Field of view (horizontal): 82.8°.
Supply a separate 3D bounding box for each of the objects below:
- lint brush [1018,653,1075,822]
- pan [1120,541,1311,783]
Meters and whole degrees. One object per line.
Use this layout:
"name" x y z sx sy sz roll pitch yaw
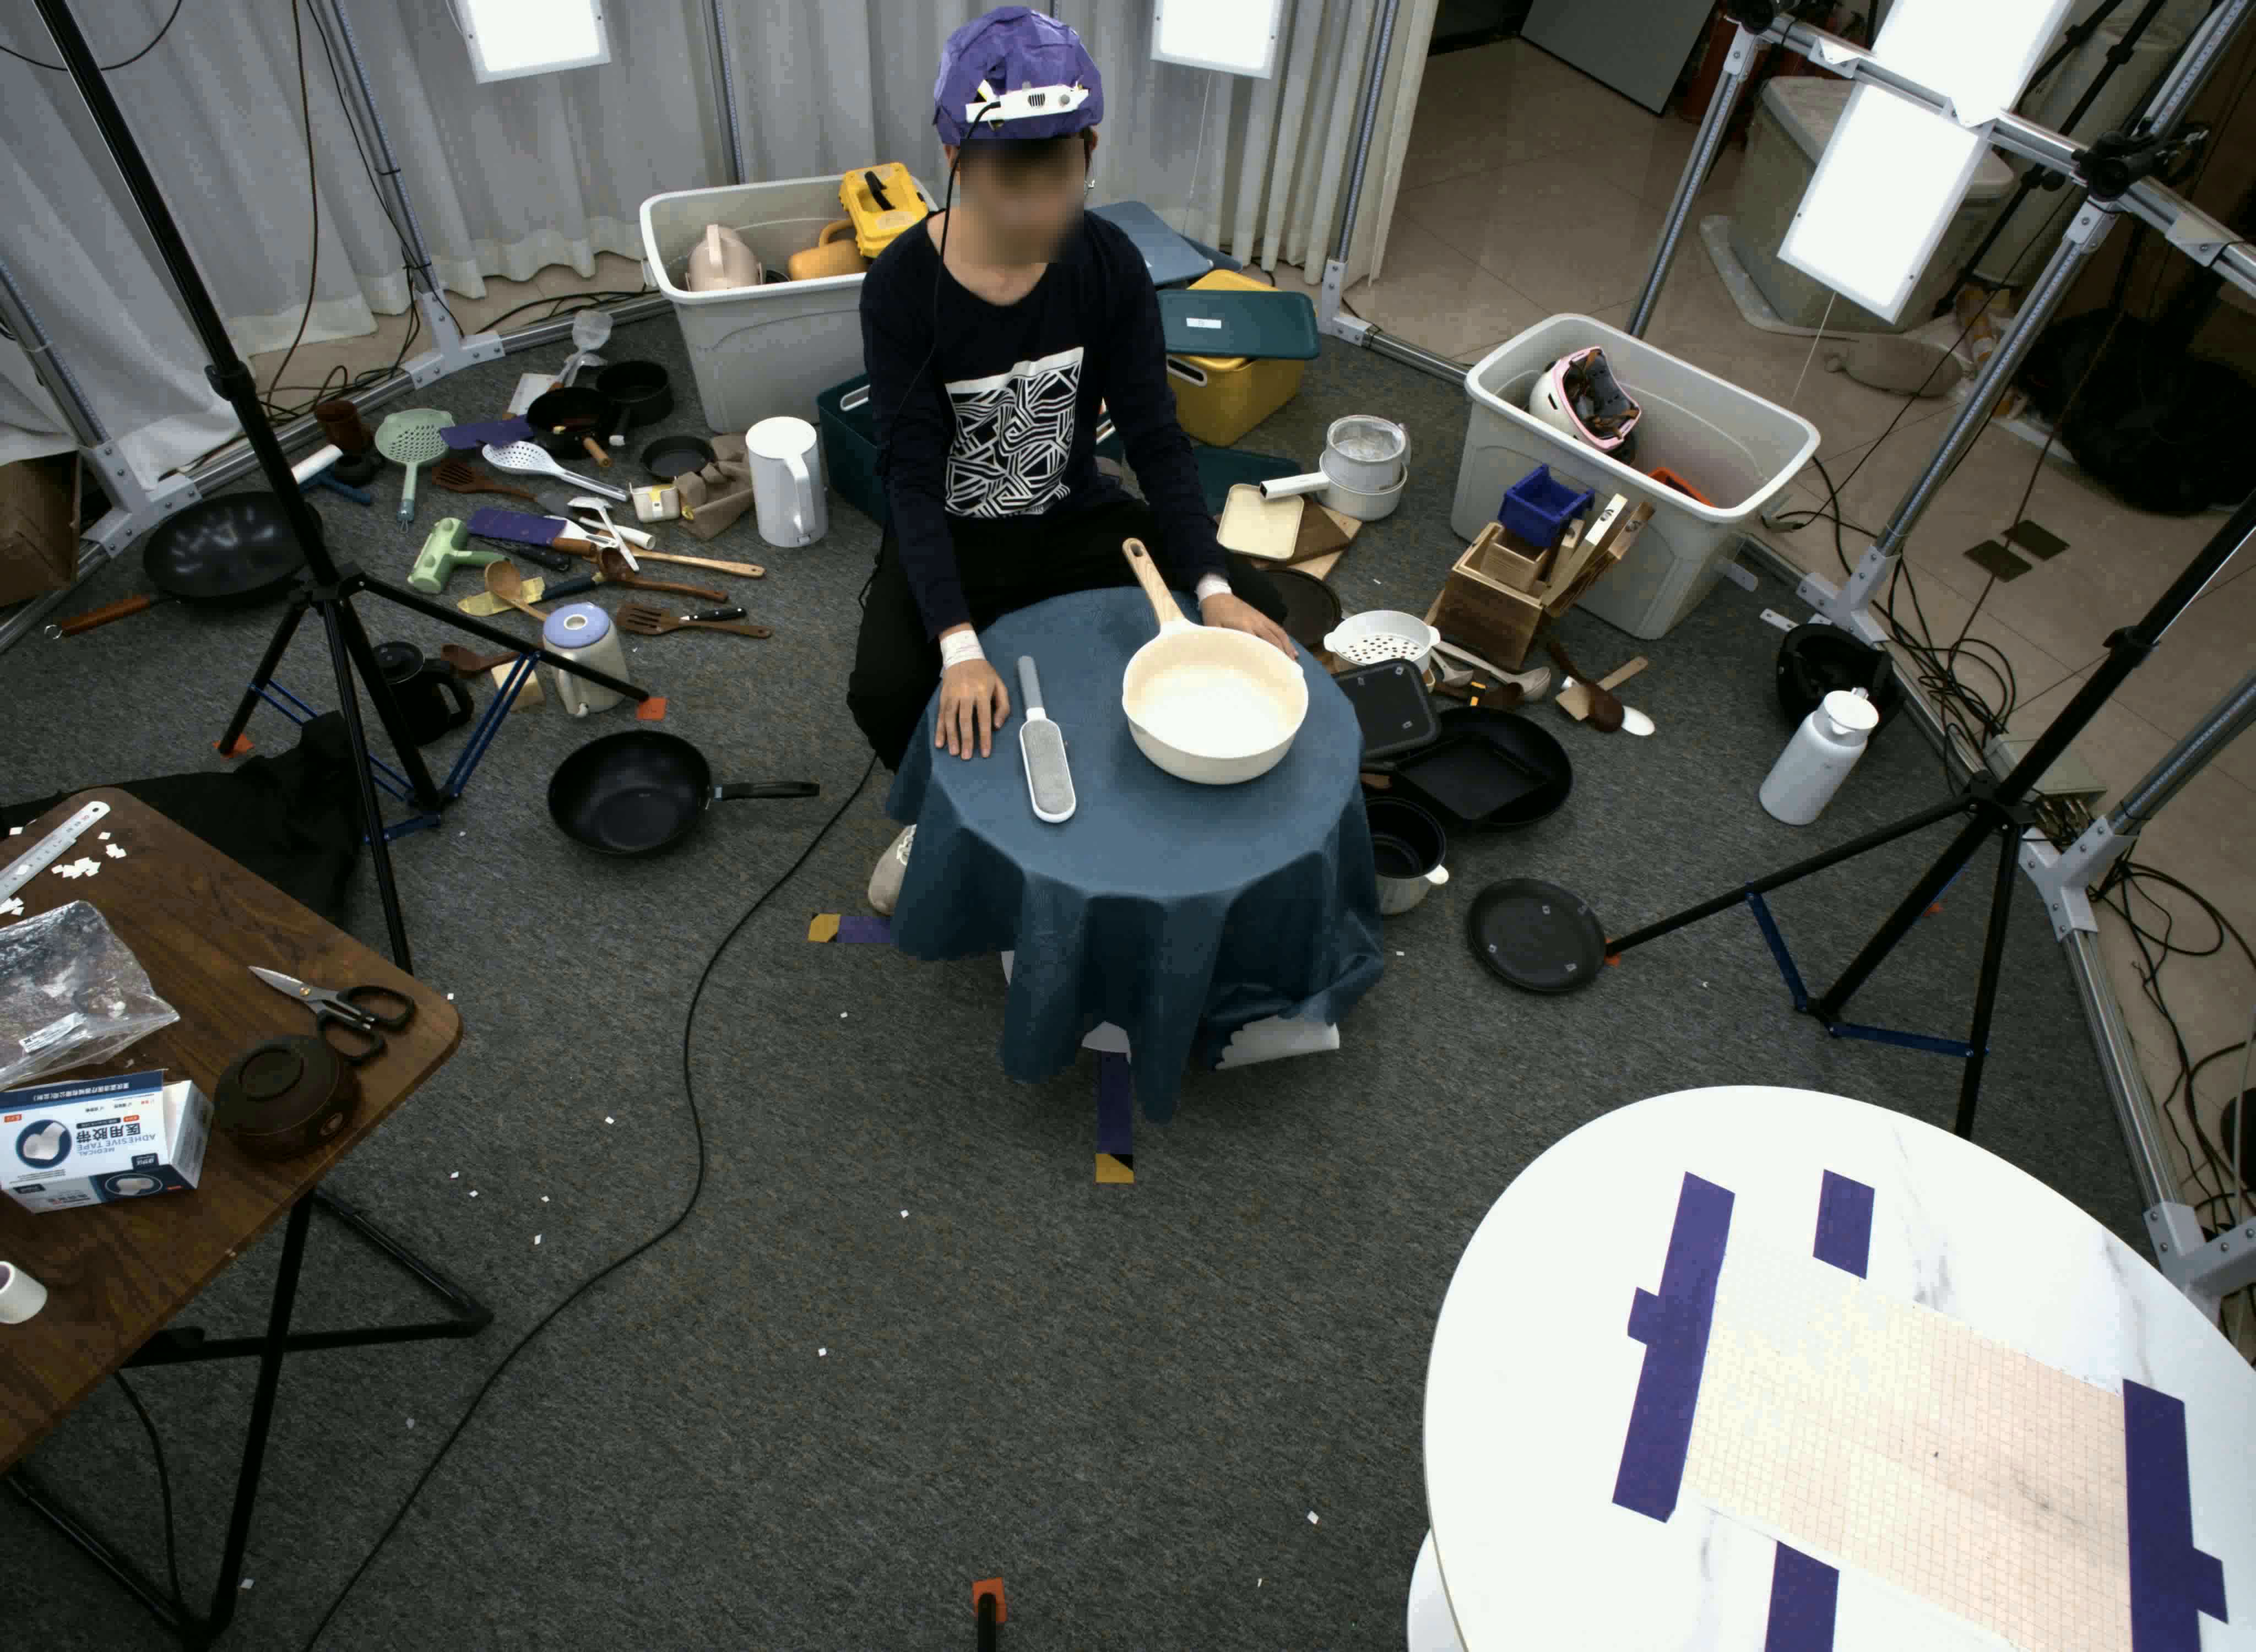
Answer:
"lint brush" -0.118 -0.127 1.751 0.060 0.020 0.317 -8 50 -5
"pan" 0.085 -0.234 1.812 0.263 0.099 0.445 -17 52 -15
